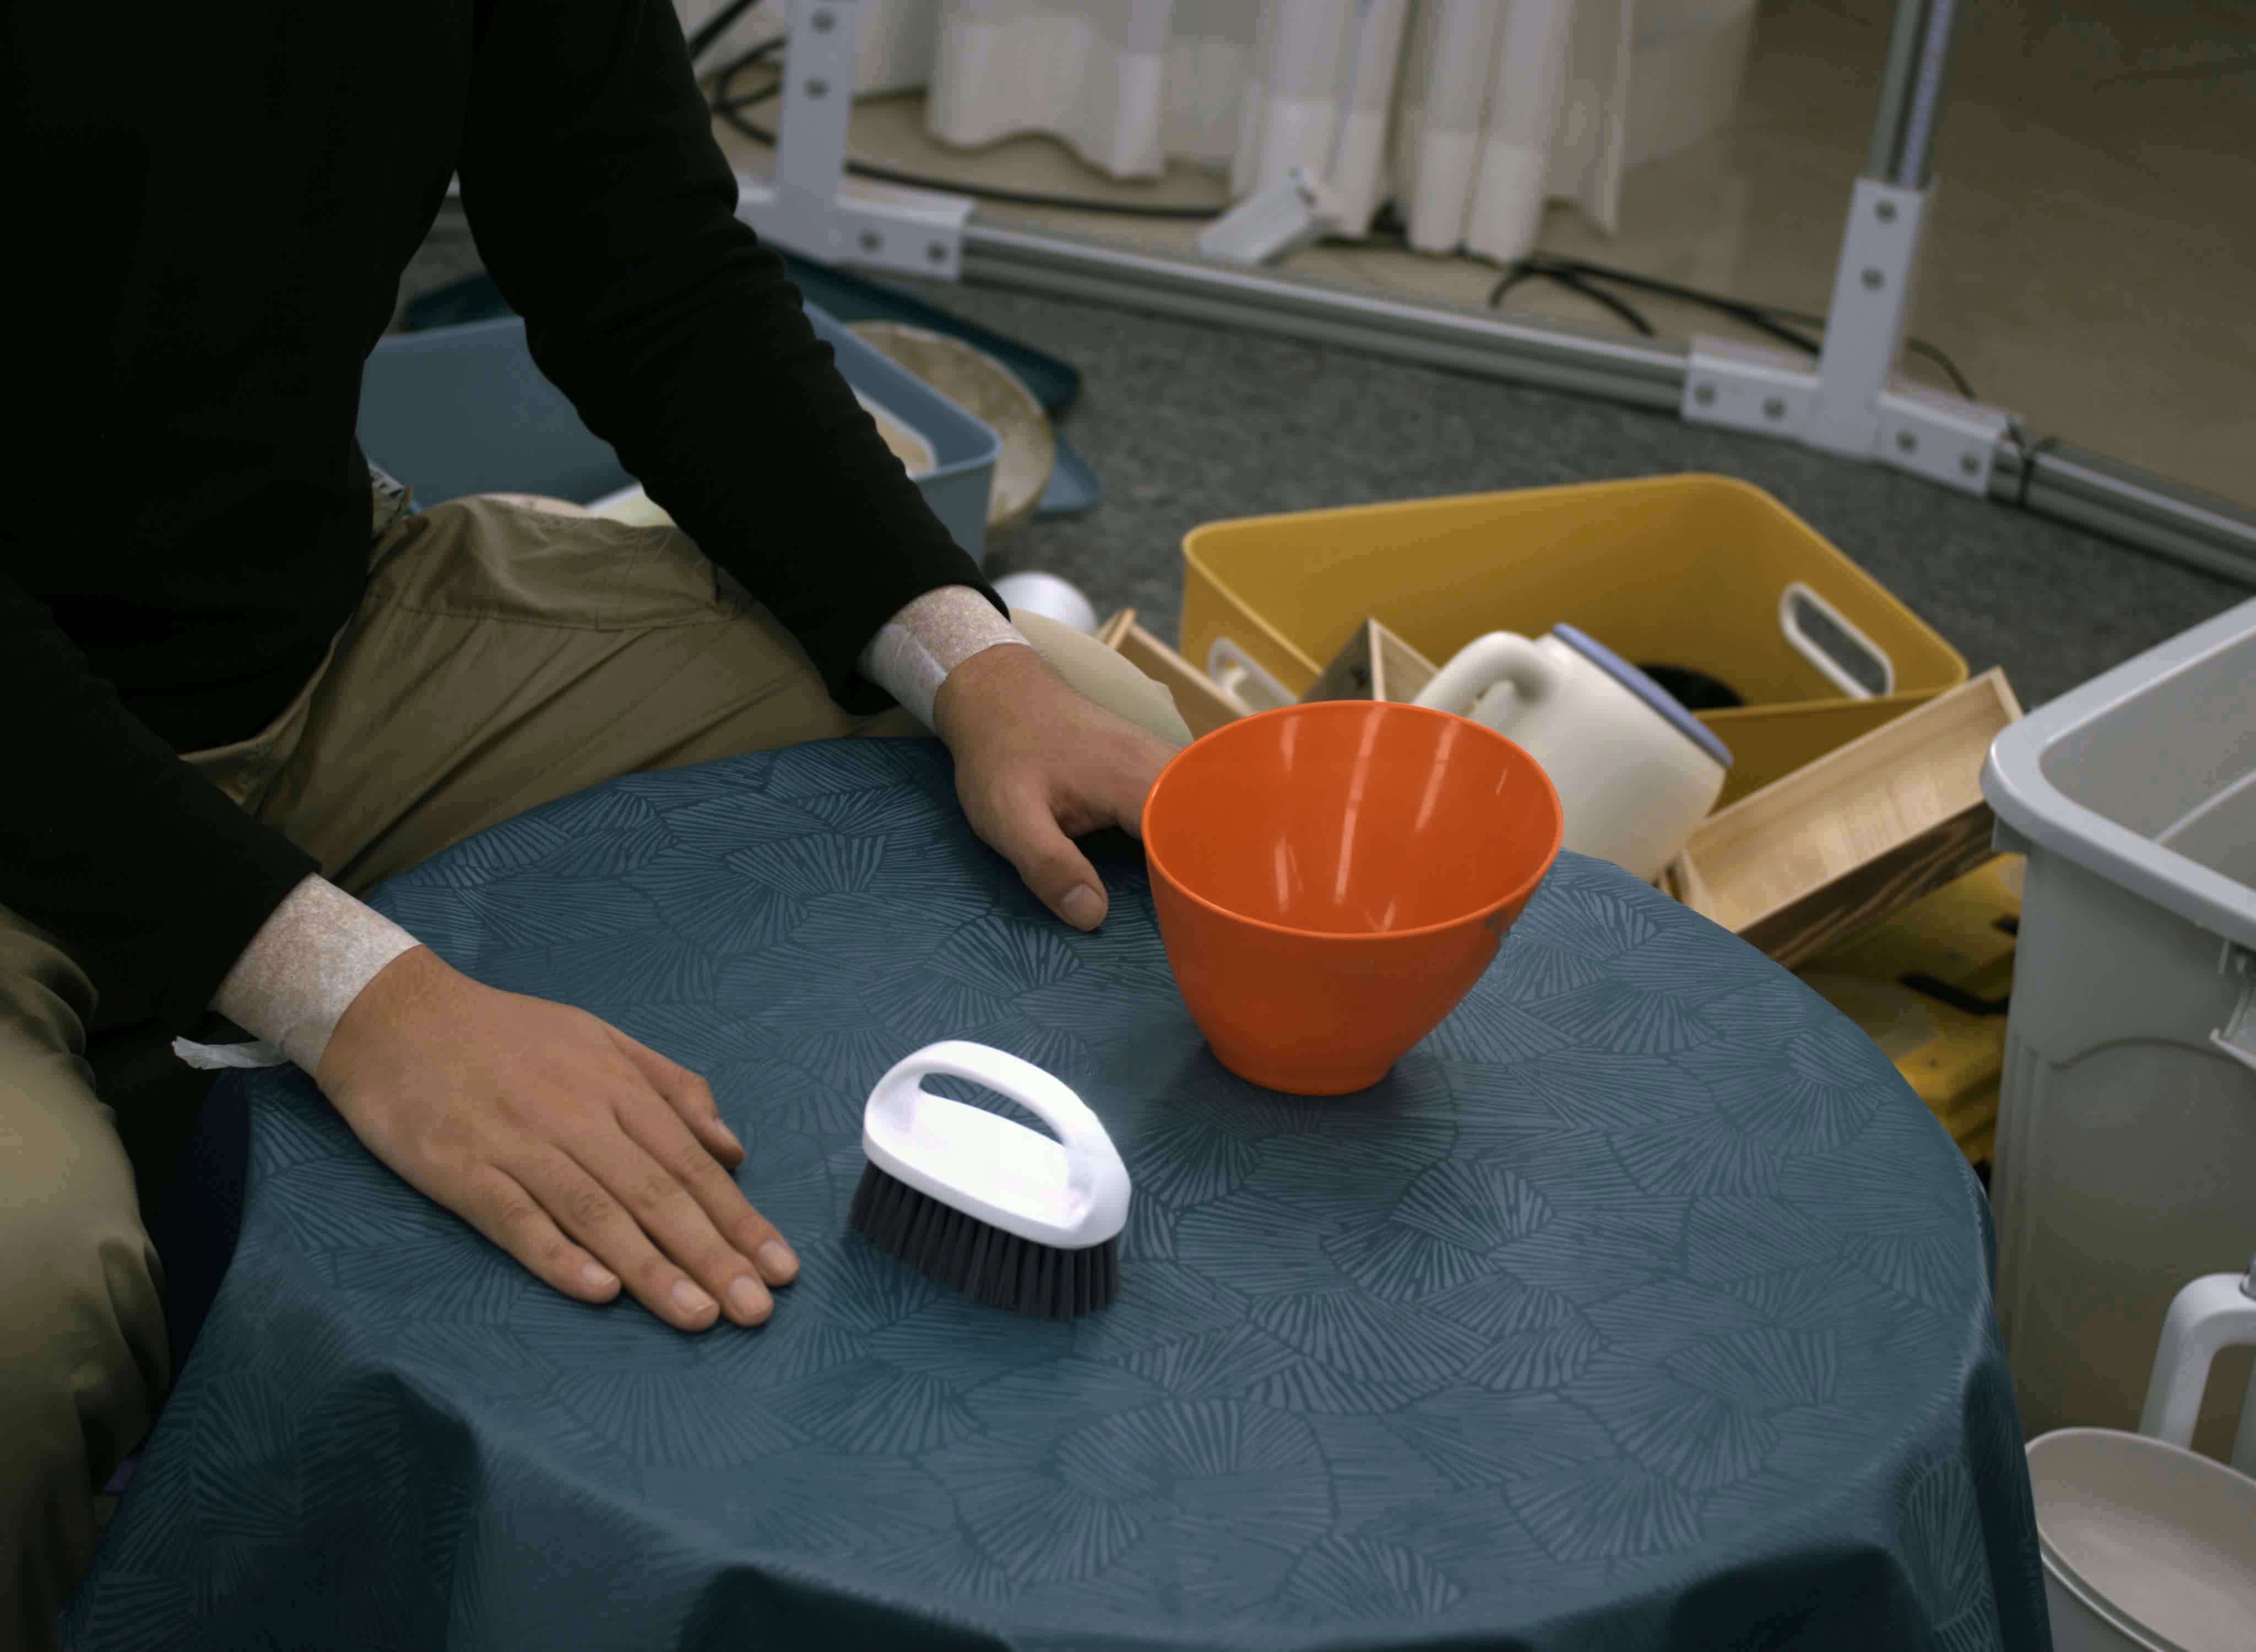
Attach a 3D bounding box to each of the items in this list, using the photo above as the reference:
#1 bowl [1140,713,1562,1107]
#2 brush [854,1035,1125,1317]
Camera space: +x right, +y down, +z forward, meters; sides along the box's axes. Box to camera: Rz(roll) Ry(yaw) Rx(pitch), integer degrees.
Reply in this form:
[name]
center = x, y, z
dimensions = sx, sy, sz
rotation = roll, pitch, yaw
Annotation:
[bowl]
center = 0.075, 0.036, 1.885
dimensions = 0.147, 0.104, 0.149
rotation = 4, 26, -2
[brush]
center = -0.044, 0.108, 1.741
dimensions = 0.100, 0.072, 0.050
rotation = 25, 33, 32
